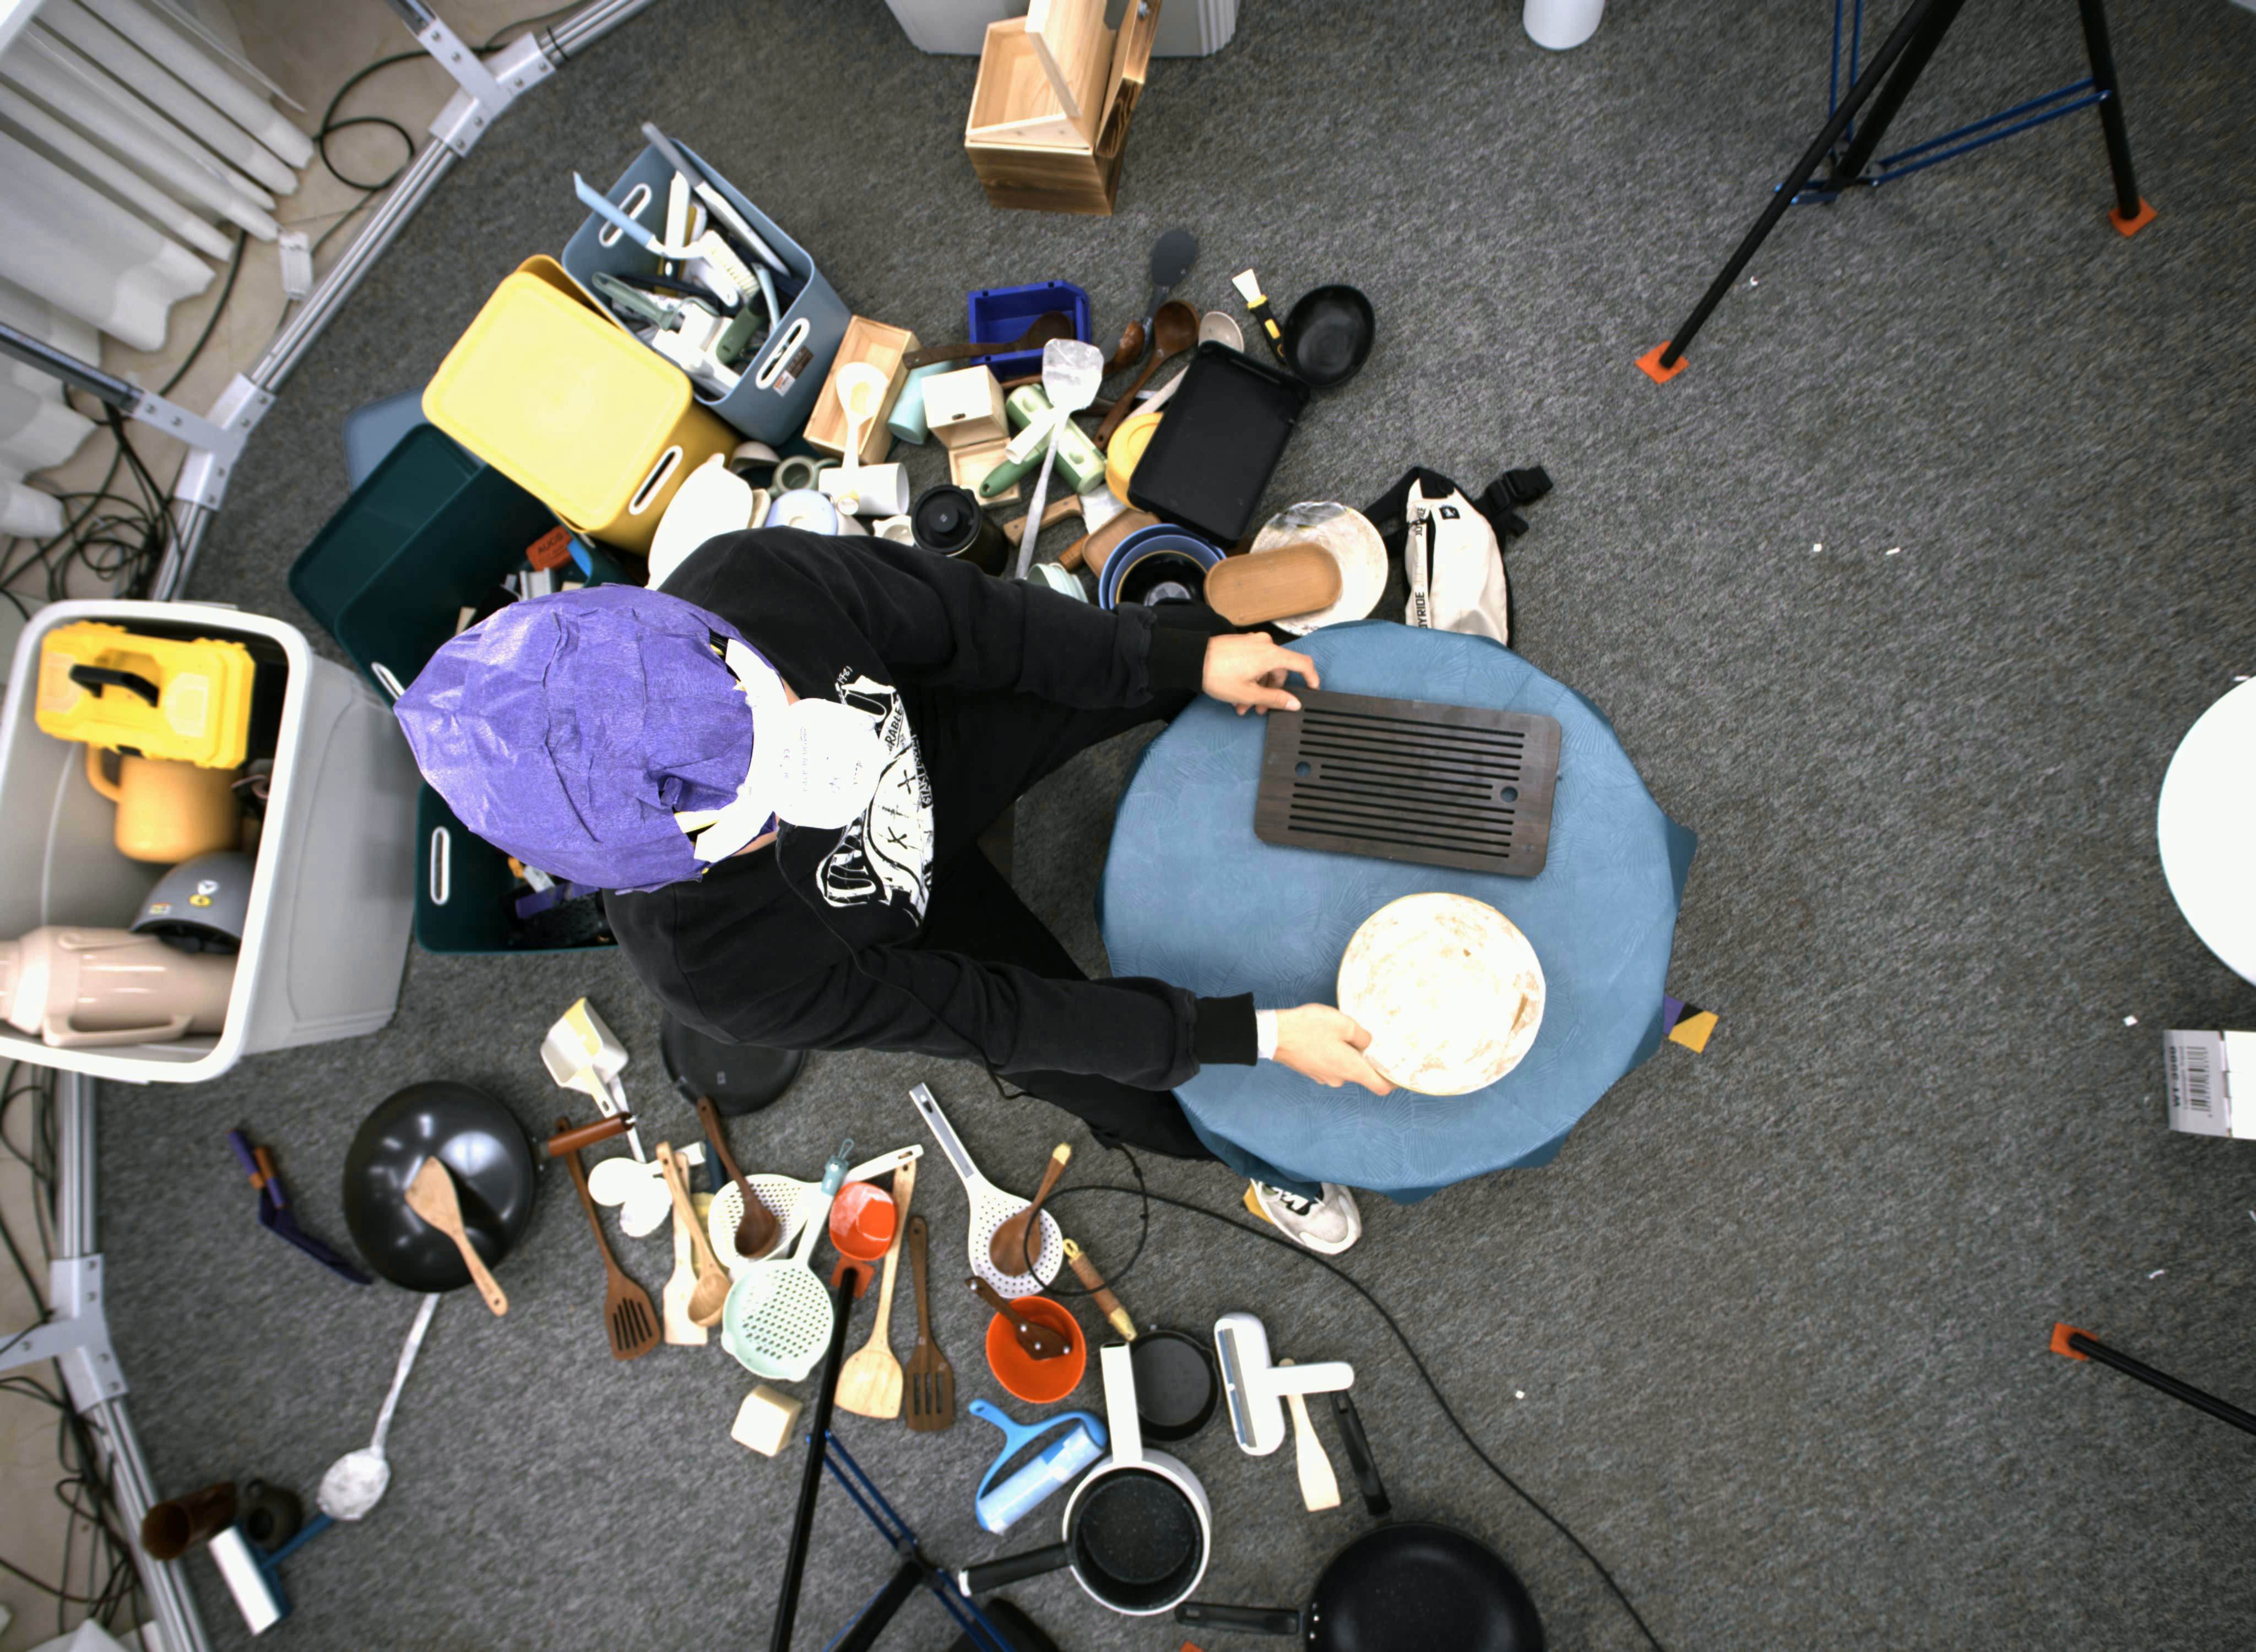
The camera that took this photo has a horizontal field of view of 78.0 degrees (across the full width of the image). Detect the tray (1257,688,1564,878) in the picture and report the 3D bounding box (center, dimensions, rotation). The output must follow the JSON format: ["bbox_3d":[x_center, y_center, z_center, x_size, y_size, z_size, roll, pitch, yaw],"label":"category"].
[{"bbox_3d":[0.297,-0.049,1.457,0.307,0.018,0.169,7,89,11],"label":"tray"}]

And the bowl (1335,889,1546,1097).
[{"bbox_3d":[0.313,0.164,1.402,0.215,0.094,0.214,0,89,10],"label":"bowl"}]
